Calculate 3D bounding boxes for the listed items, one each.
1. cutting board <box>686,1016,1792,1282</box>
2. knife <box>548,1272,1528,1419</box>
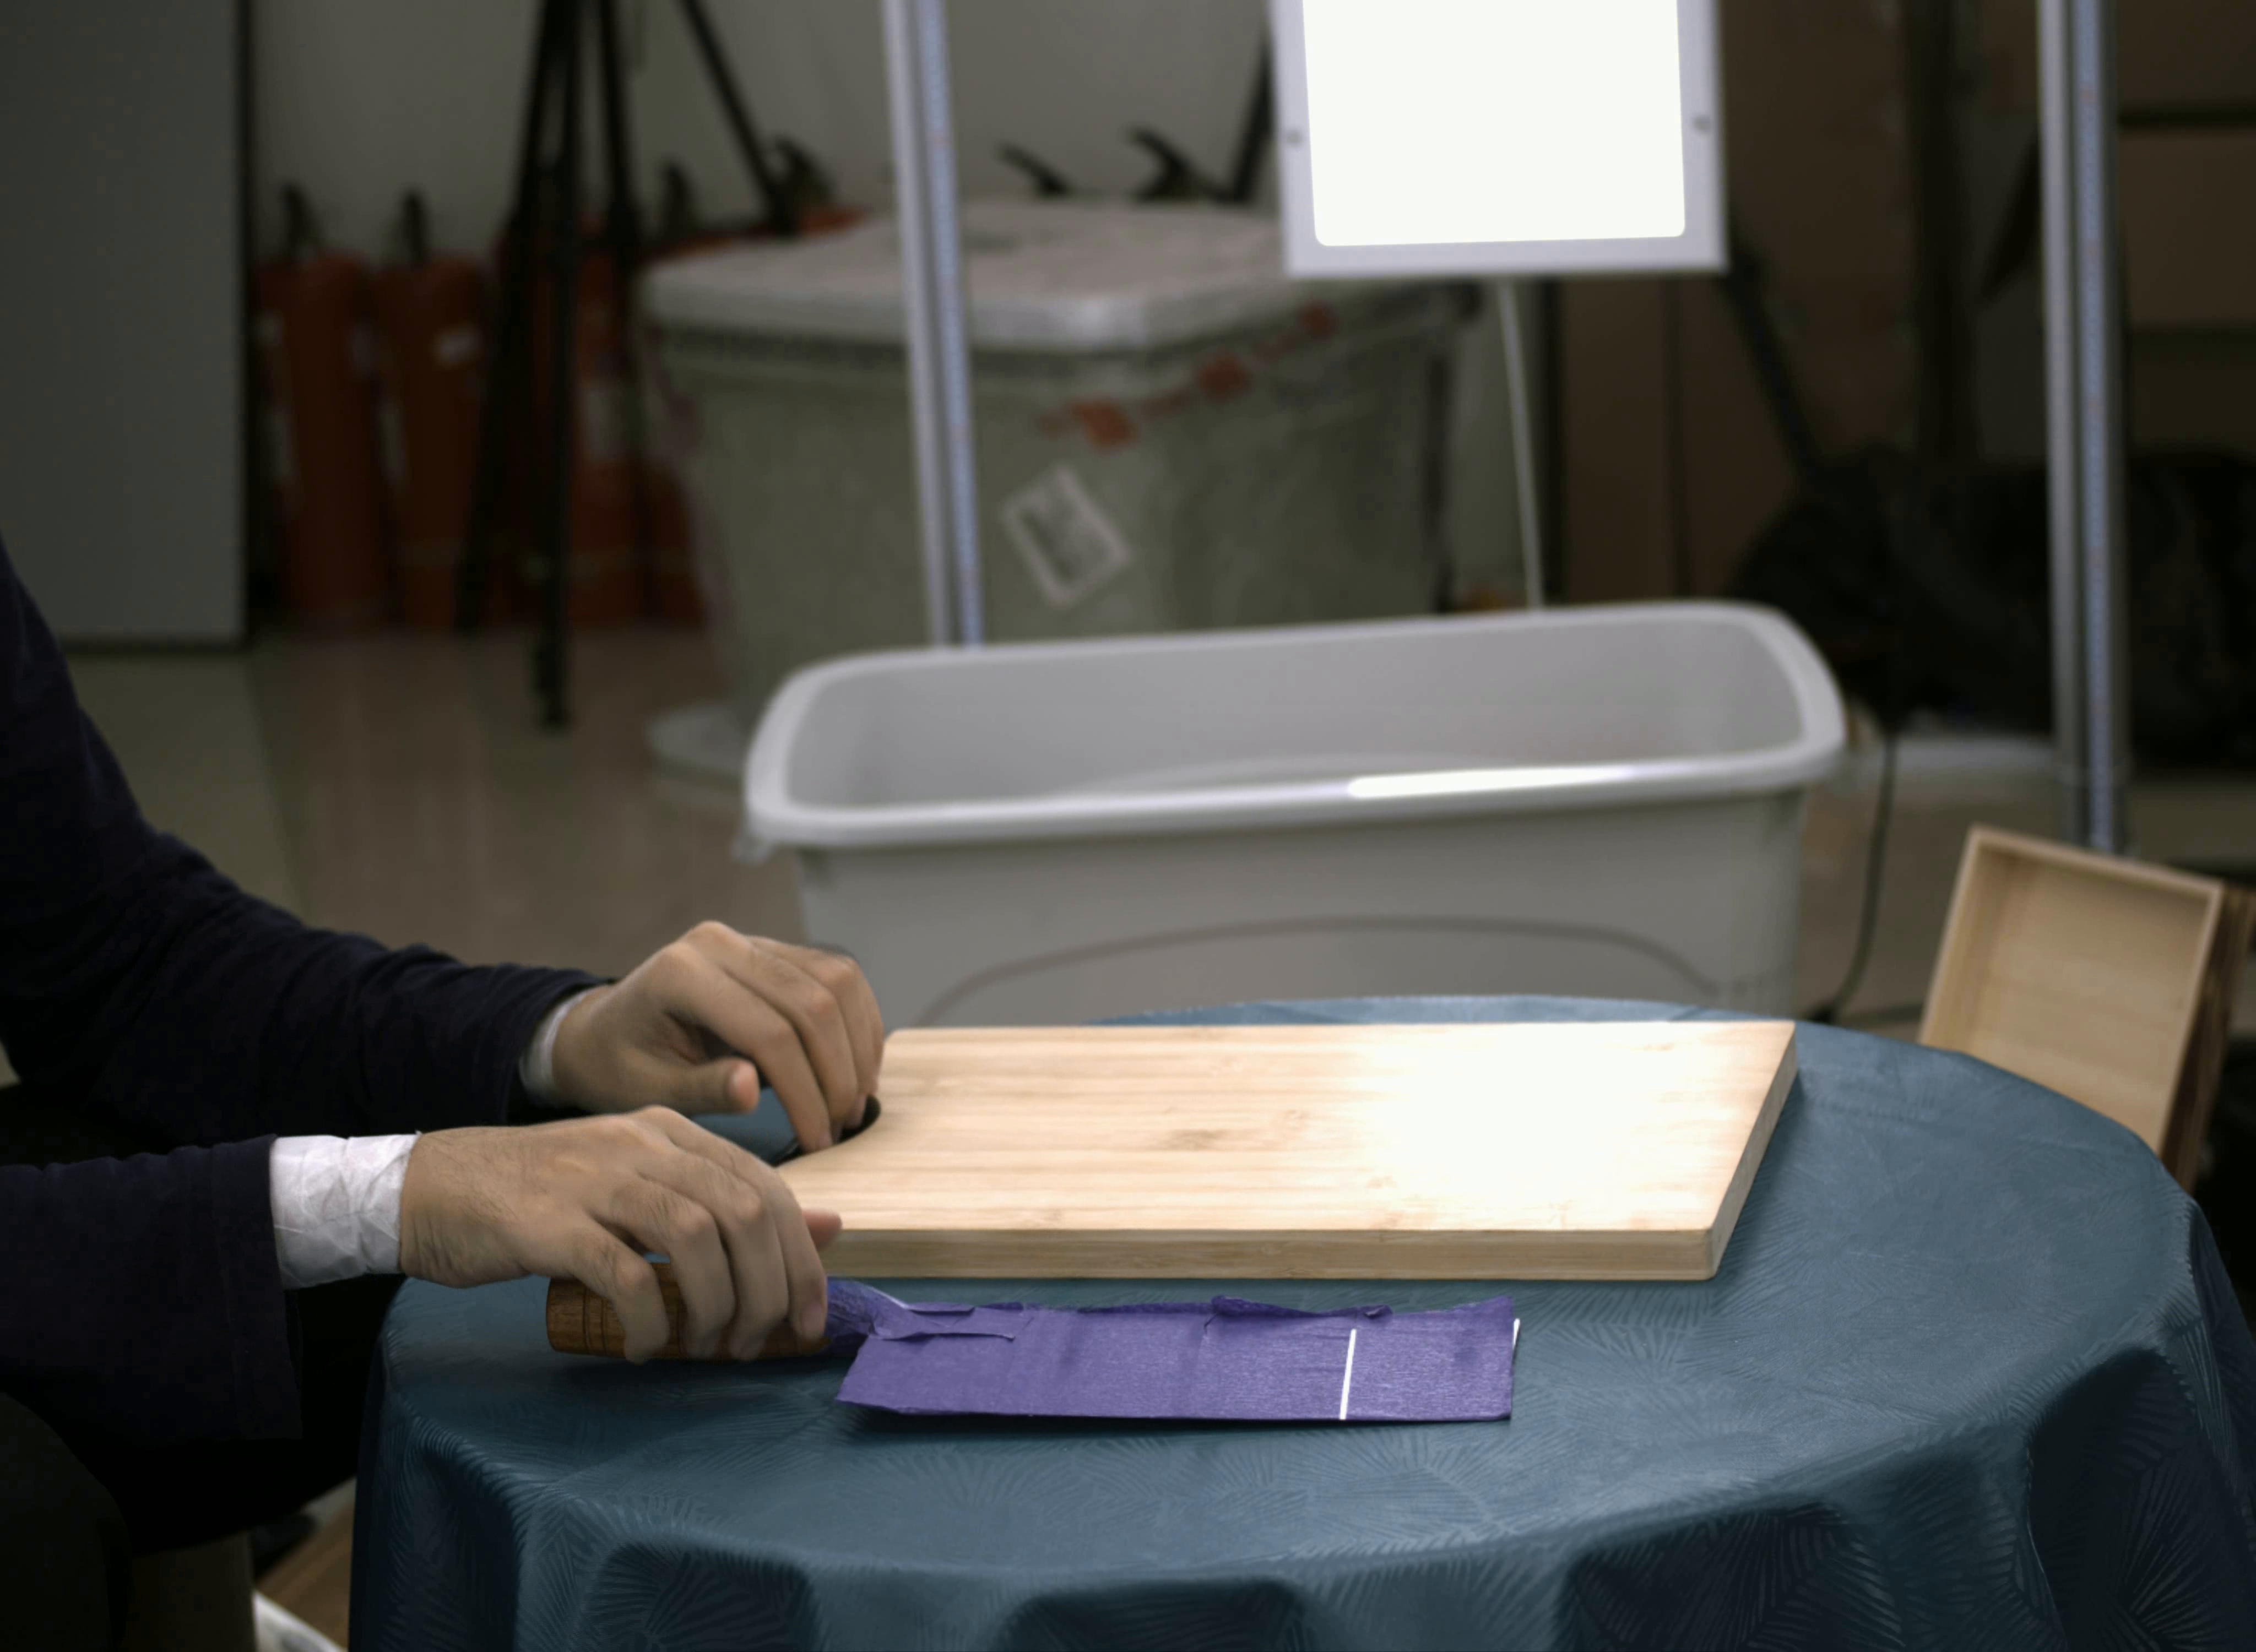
[{"bbox_3d":[0.046,0.111,1.915,0.352,0.023,0.247,-2,14,15],"label":"cutting board"},{"bbox_3d":[-0.033,0.161,1.716,0.317,0.032,0.103,-2,14,10],"label":"knife"}]
